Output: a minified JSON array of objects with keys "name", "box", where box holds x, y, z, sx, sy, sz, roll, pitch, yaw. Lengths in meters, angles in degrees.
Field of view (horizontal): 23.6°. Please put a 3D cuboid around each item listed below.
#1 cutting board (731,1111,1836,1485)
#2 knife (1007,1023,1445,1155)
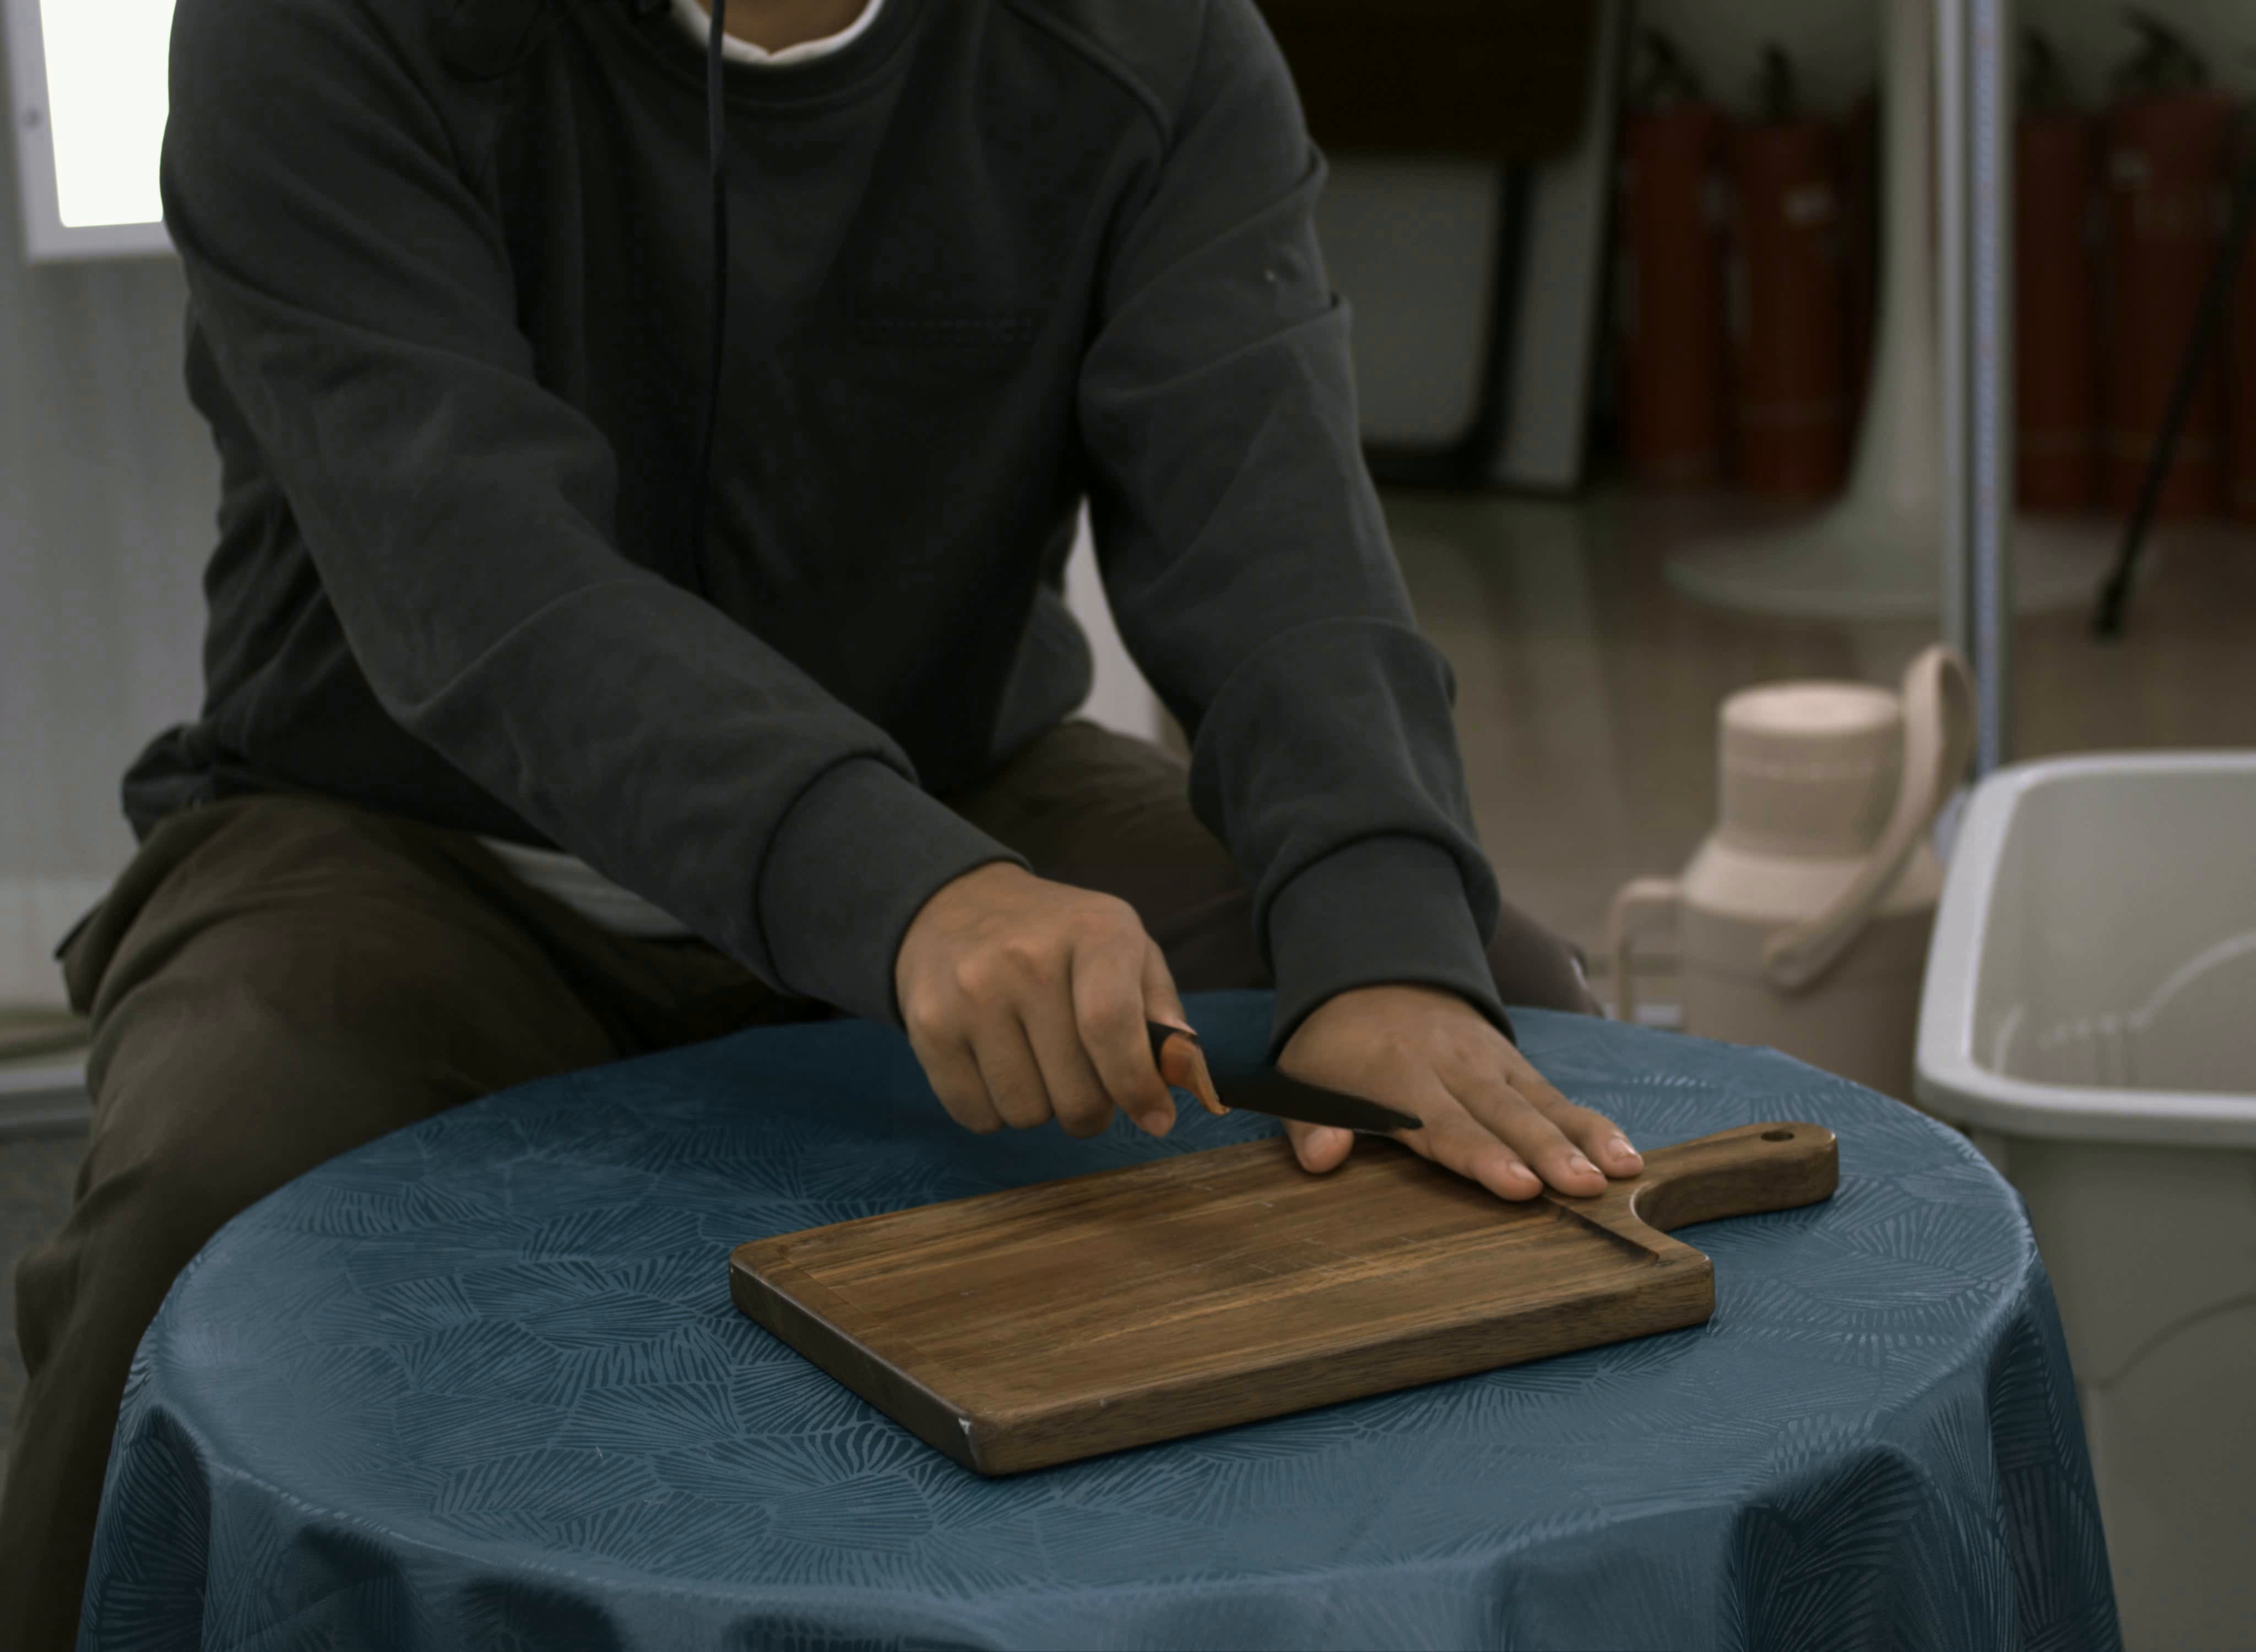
[{"name":"cutting board","box":[0.071,0.132,1.666,0.344,0.023,0.203,-10,15,-24]},{"name":"knife","box":[0.028,0.081,1.681,0.017,0.026,0.228,-28,19,-29]}]
